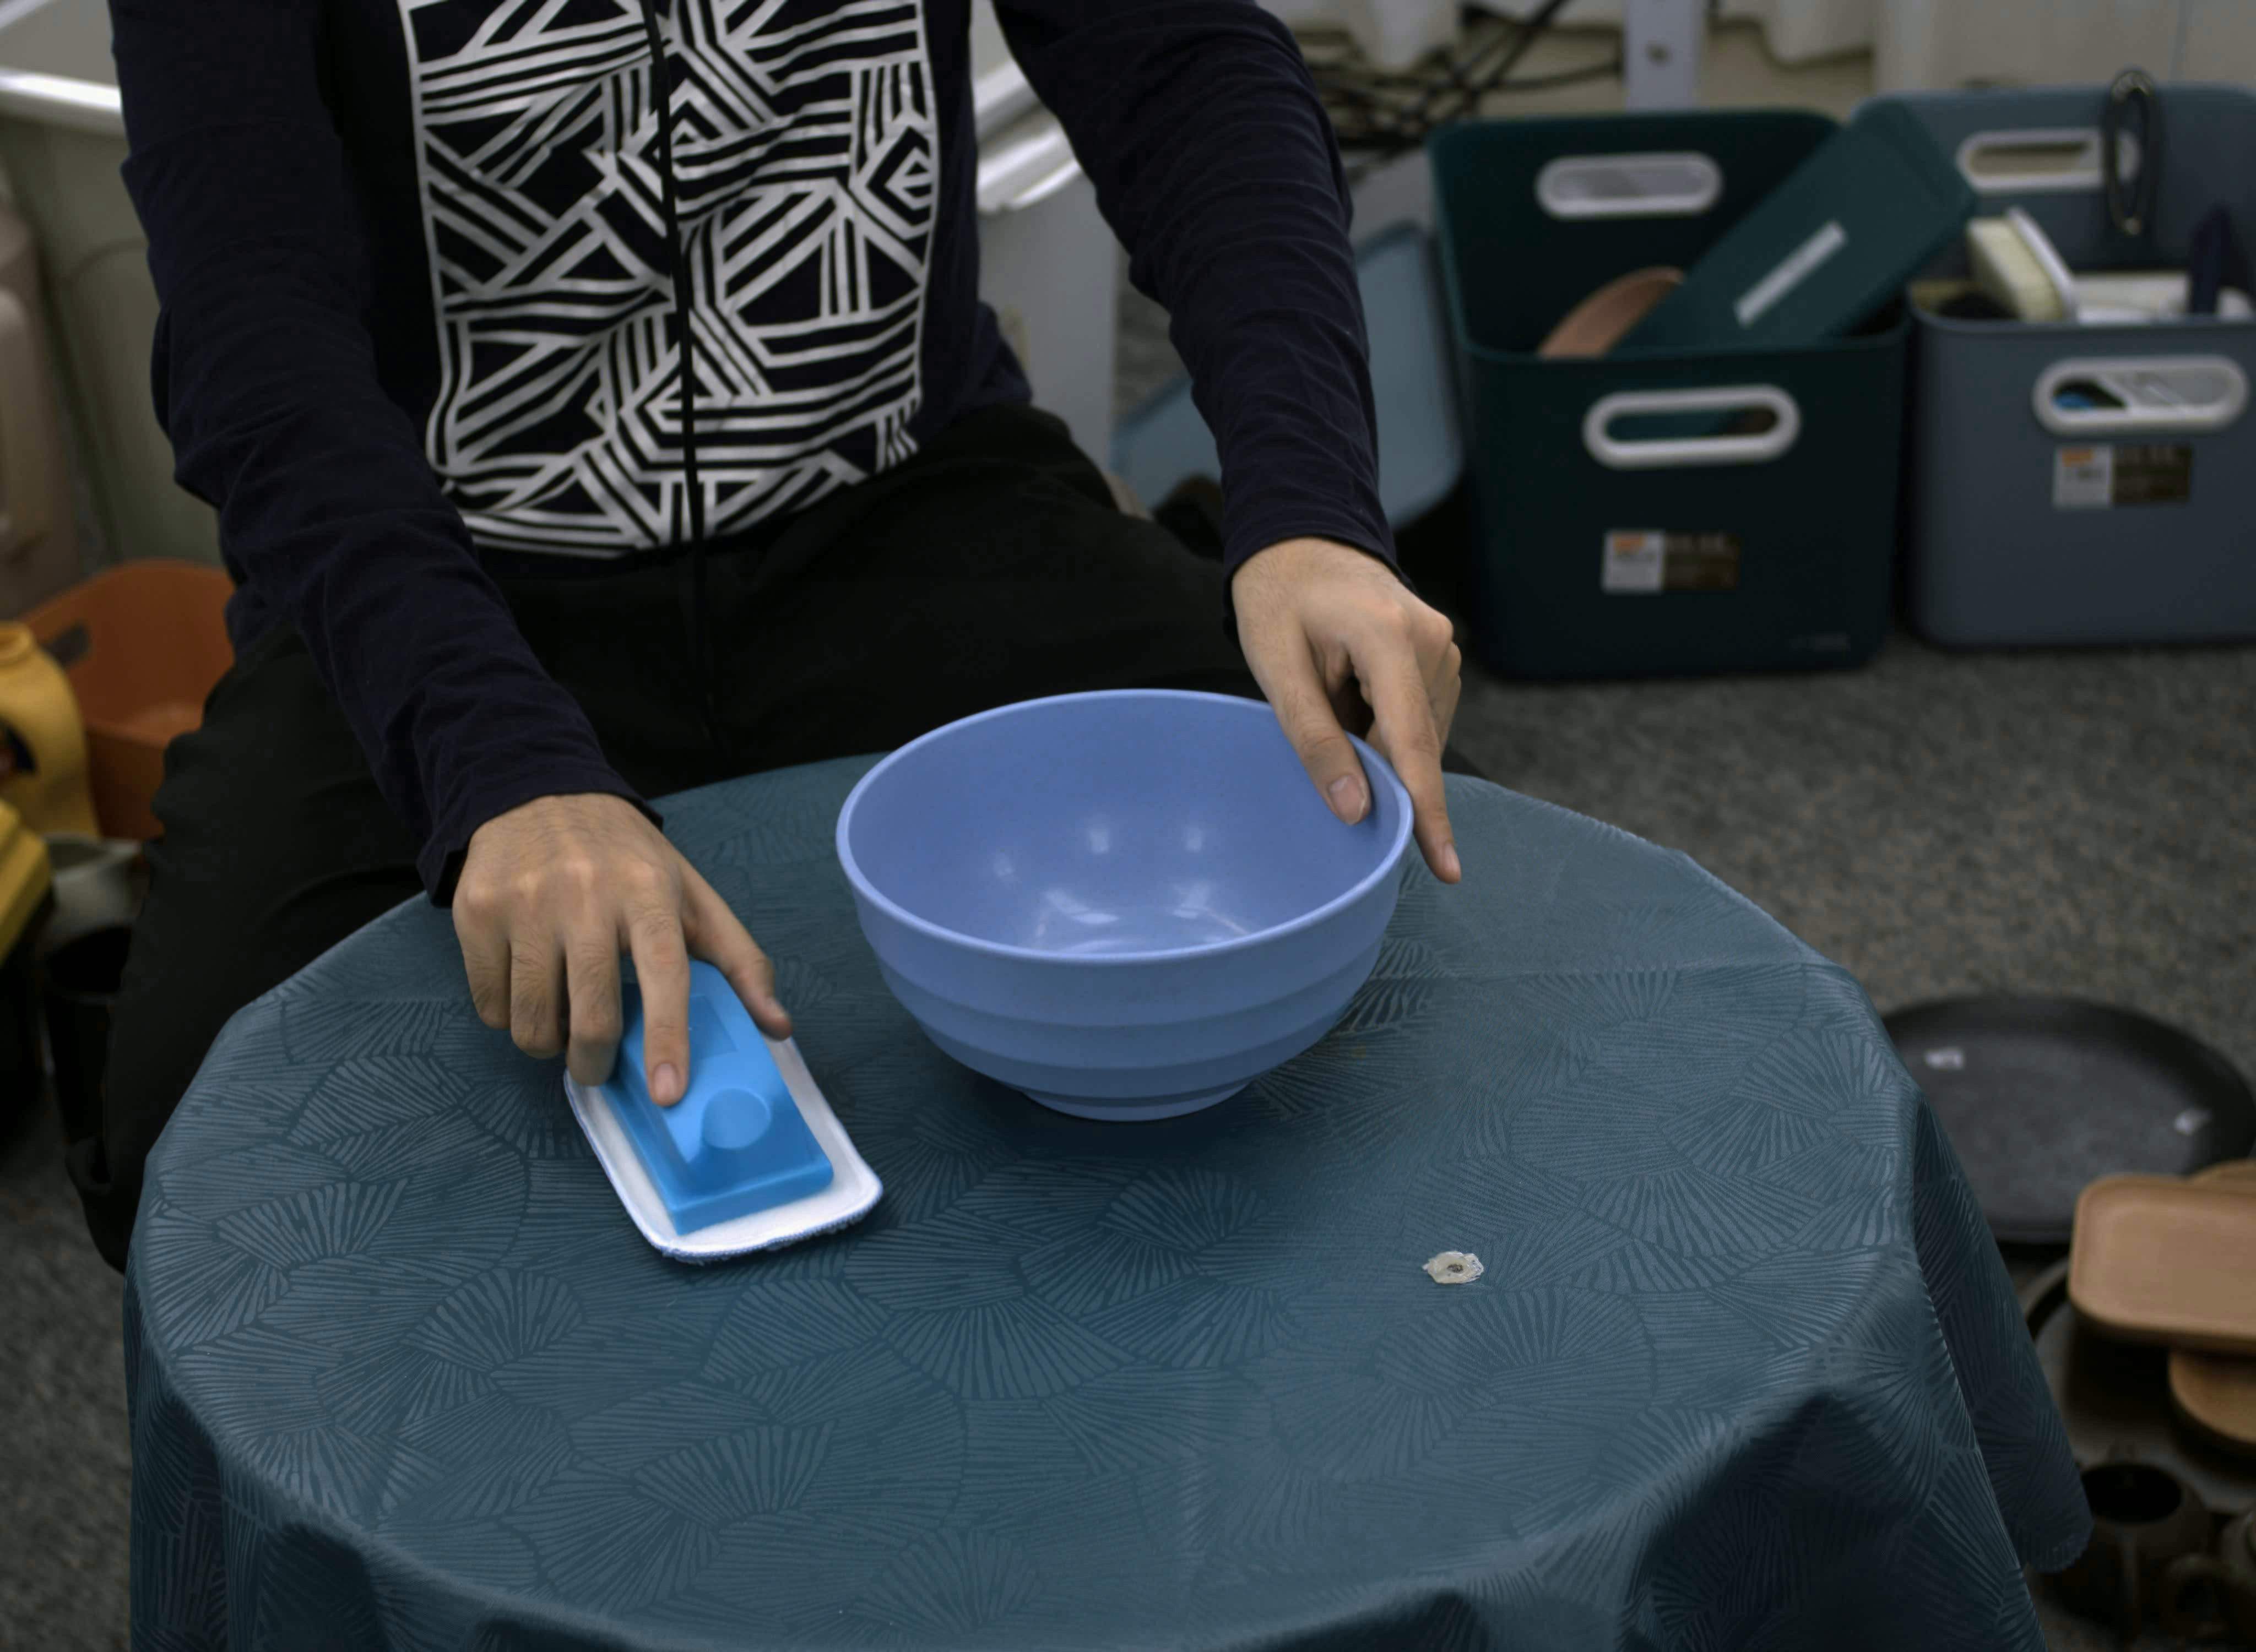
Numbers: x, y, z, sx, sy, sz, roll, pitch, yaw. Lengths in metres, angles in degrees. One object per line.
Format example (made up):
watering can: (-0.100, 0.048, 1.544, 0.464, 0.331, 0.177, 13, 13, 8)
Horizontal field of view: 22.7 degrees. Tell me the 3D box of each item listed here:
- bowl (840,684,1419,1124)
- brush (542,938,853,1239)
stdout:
bowl: (0.002, 0.038, 1.919, 0.195, 0.094, 0.199, -1, 28, 1)
brush: (-0.145, 0.083, 1.879, 0.084, 0.055, 0.145, -12, 31, -14)
